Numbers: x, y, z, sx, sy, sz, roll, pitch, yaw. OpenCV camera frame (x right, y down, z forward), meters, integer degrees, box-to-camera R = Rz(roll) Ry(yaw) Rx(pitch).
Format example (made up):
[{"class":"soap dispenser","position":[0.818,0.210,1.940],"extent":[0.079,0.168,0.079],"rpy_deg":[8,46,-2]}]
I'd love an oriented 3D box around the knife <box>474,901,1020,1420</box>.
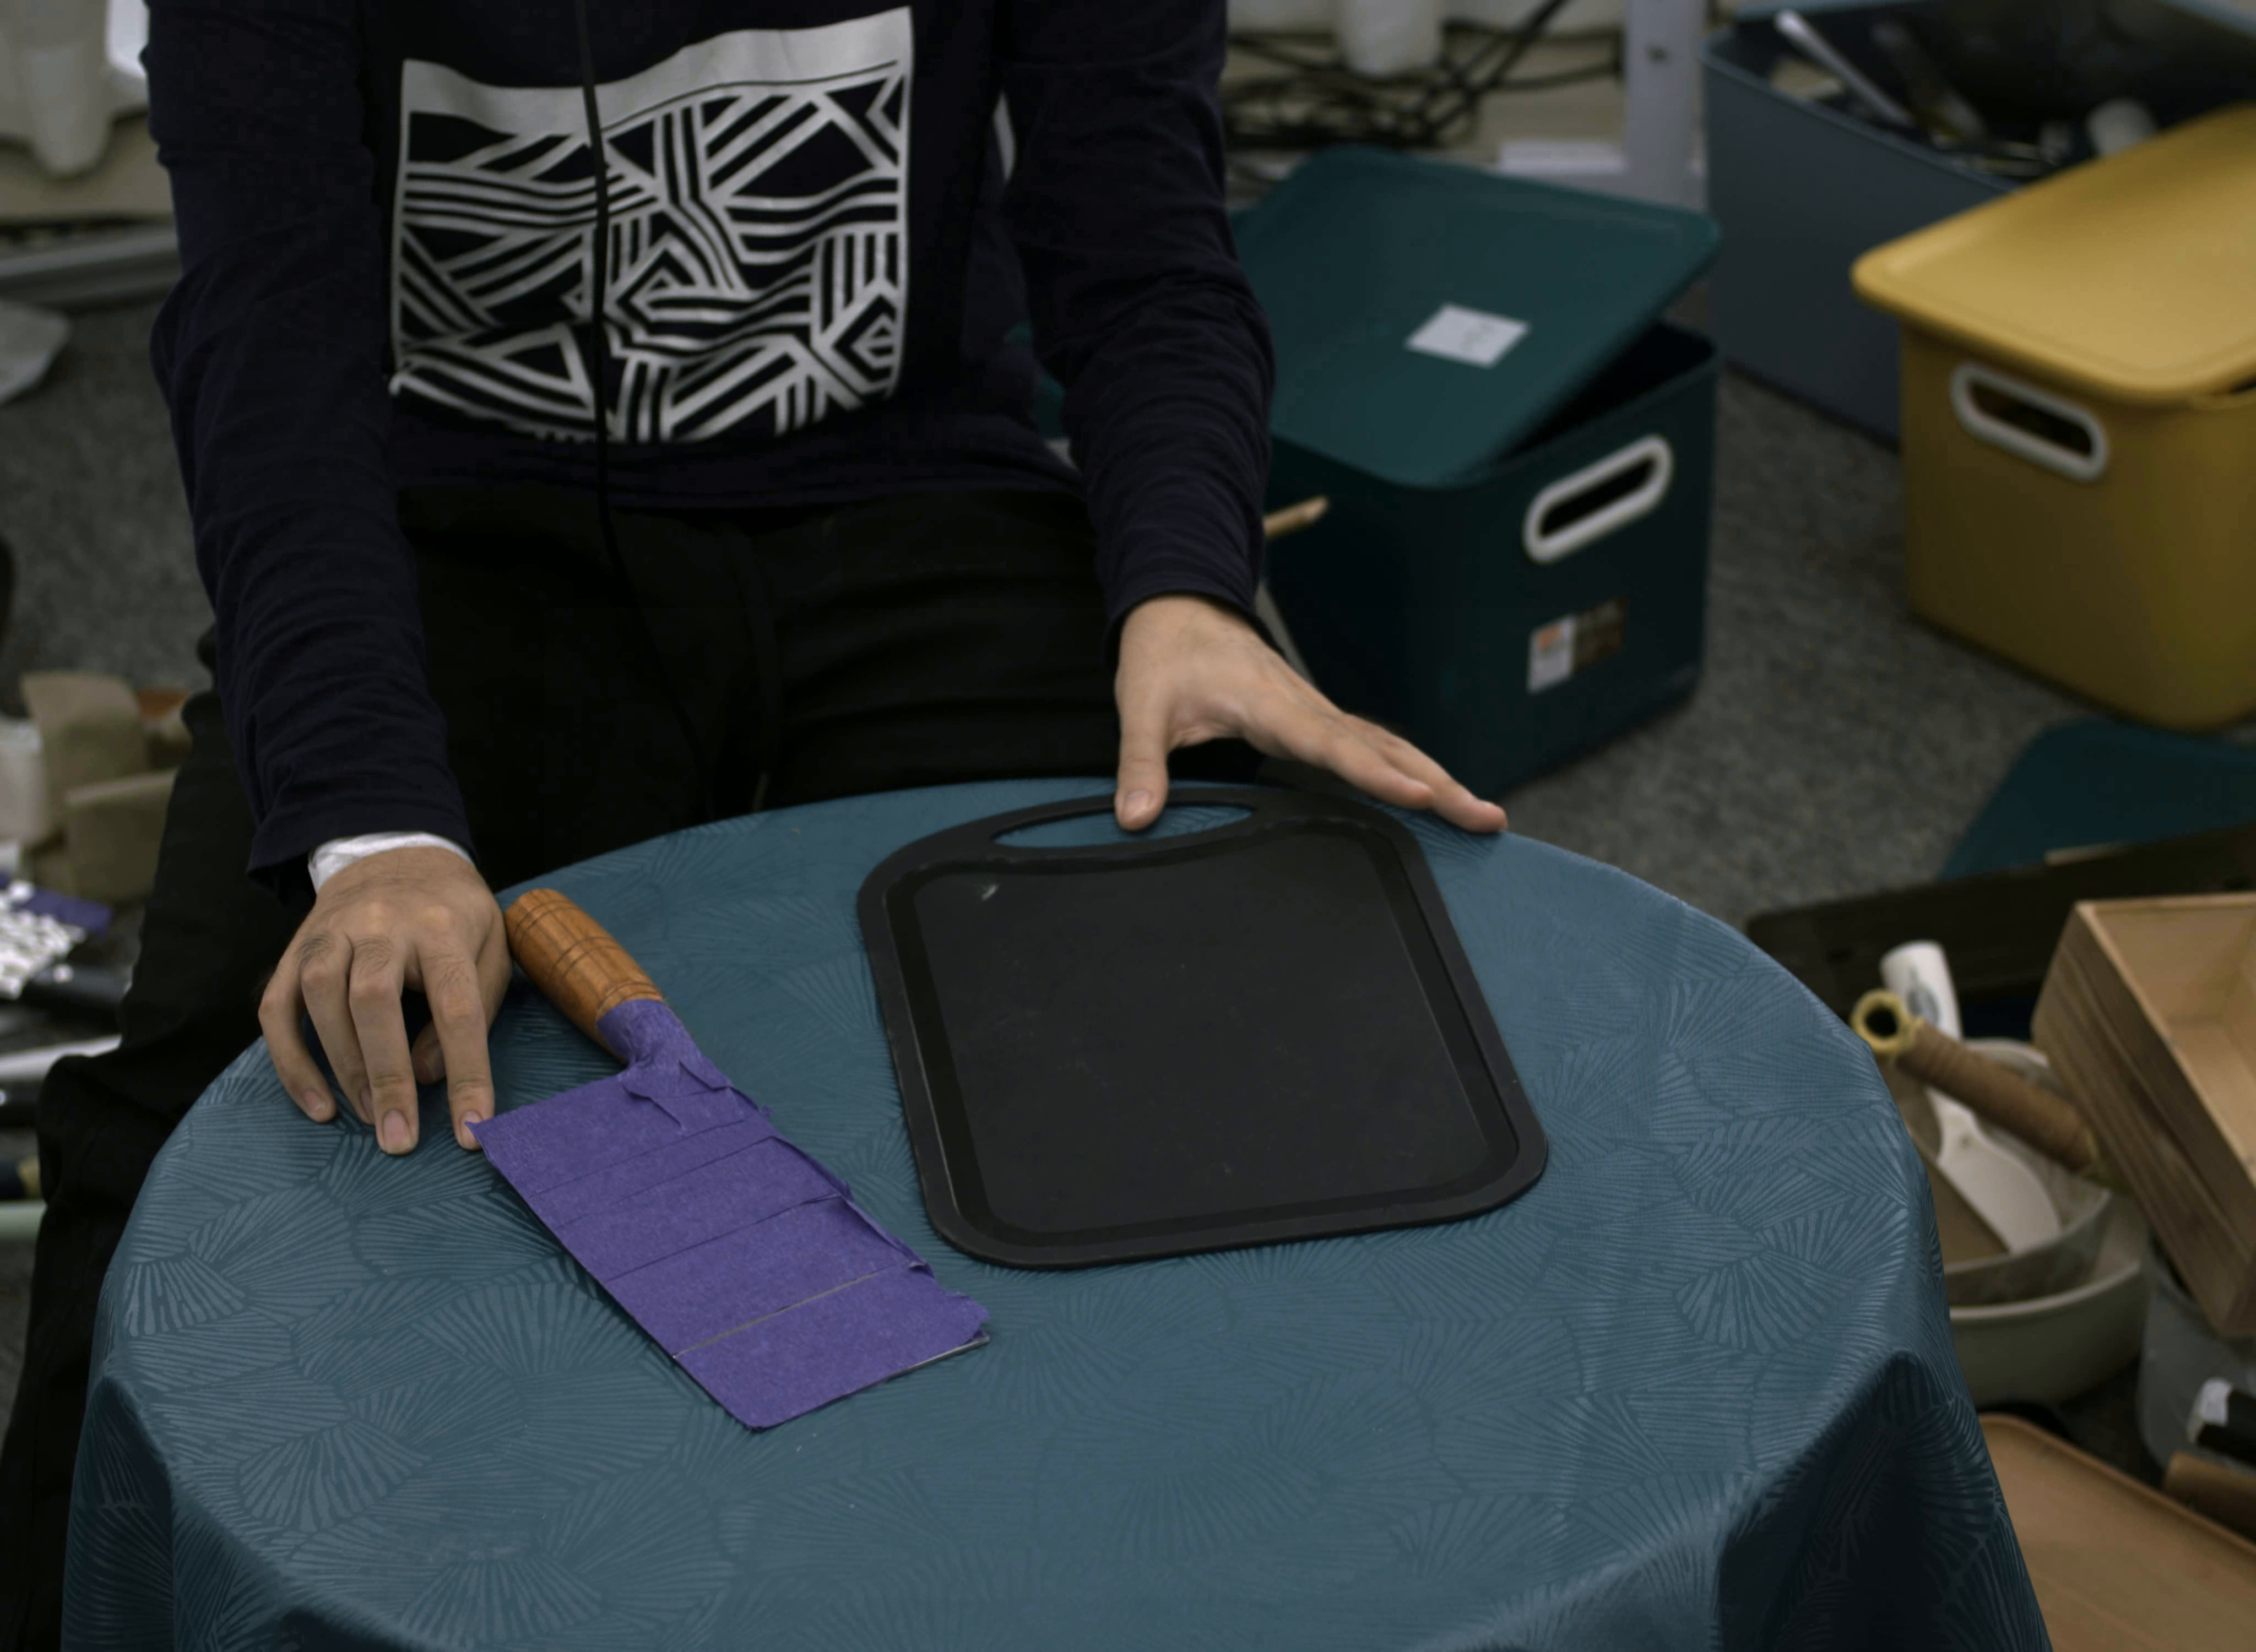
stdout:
[{"class":"knife","position":[-0.159,0.108,1.874],"extent":[0.104,0.032,0.316],"rpy_deg":[-18,31,-27]}]

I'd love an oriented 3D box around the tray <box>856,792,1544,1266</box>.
[{"class":"tray","position":[0.017,0.062,1.968],"extent":[0.210,0.009,0.329],"rpy_deg":[-6,27,-7]}]
